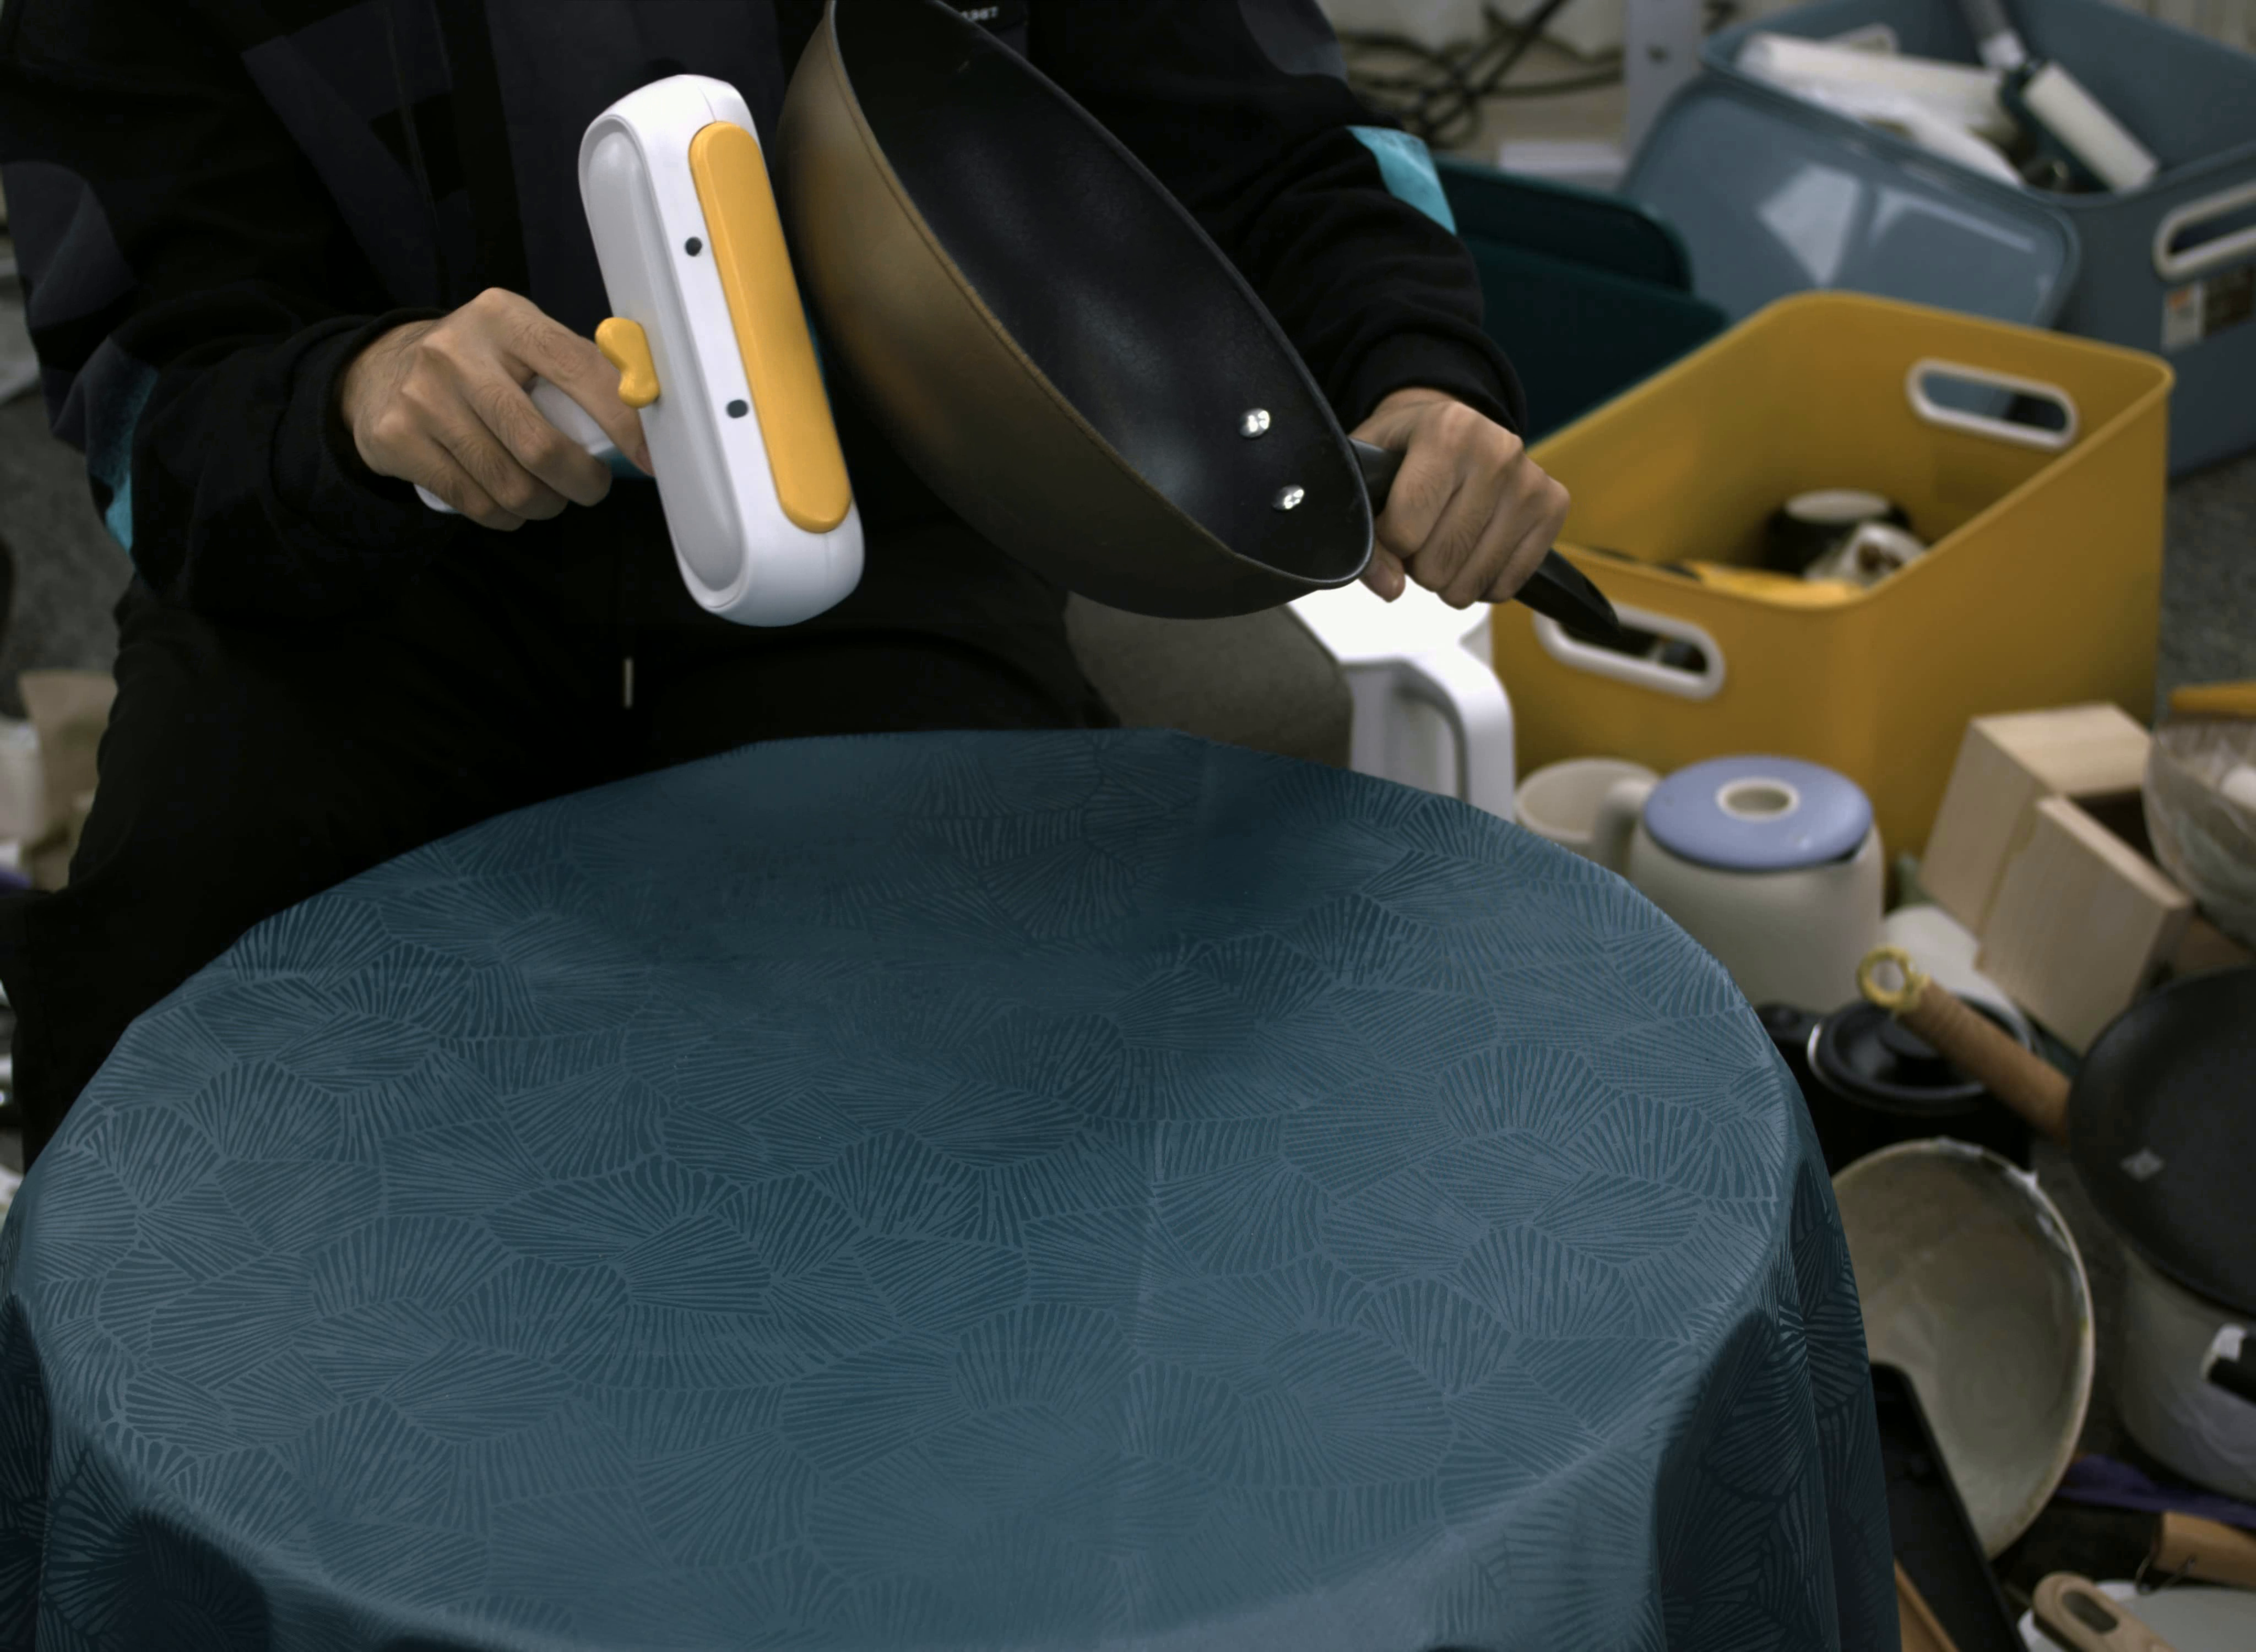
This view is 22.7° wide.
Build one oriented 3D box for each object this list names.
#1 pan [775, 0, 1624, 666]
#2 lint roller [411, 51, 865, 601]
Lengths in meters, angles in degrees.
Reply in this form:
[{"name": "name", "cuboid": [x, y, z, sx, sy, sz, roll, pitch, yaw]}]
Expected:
[{"name": "pan", "cuboid": [0.022, -0.141, 2.073, 0.461, 0.086, 0.292, 31, 26, -44]}, {"name": "lint roller", "cuboid": [-0.181, -0.153, 1.983, 0.075, 0.194, 0.189, -17, -6, -41]}]
